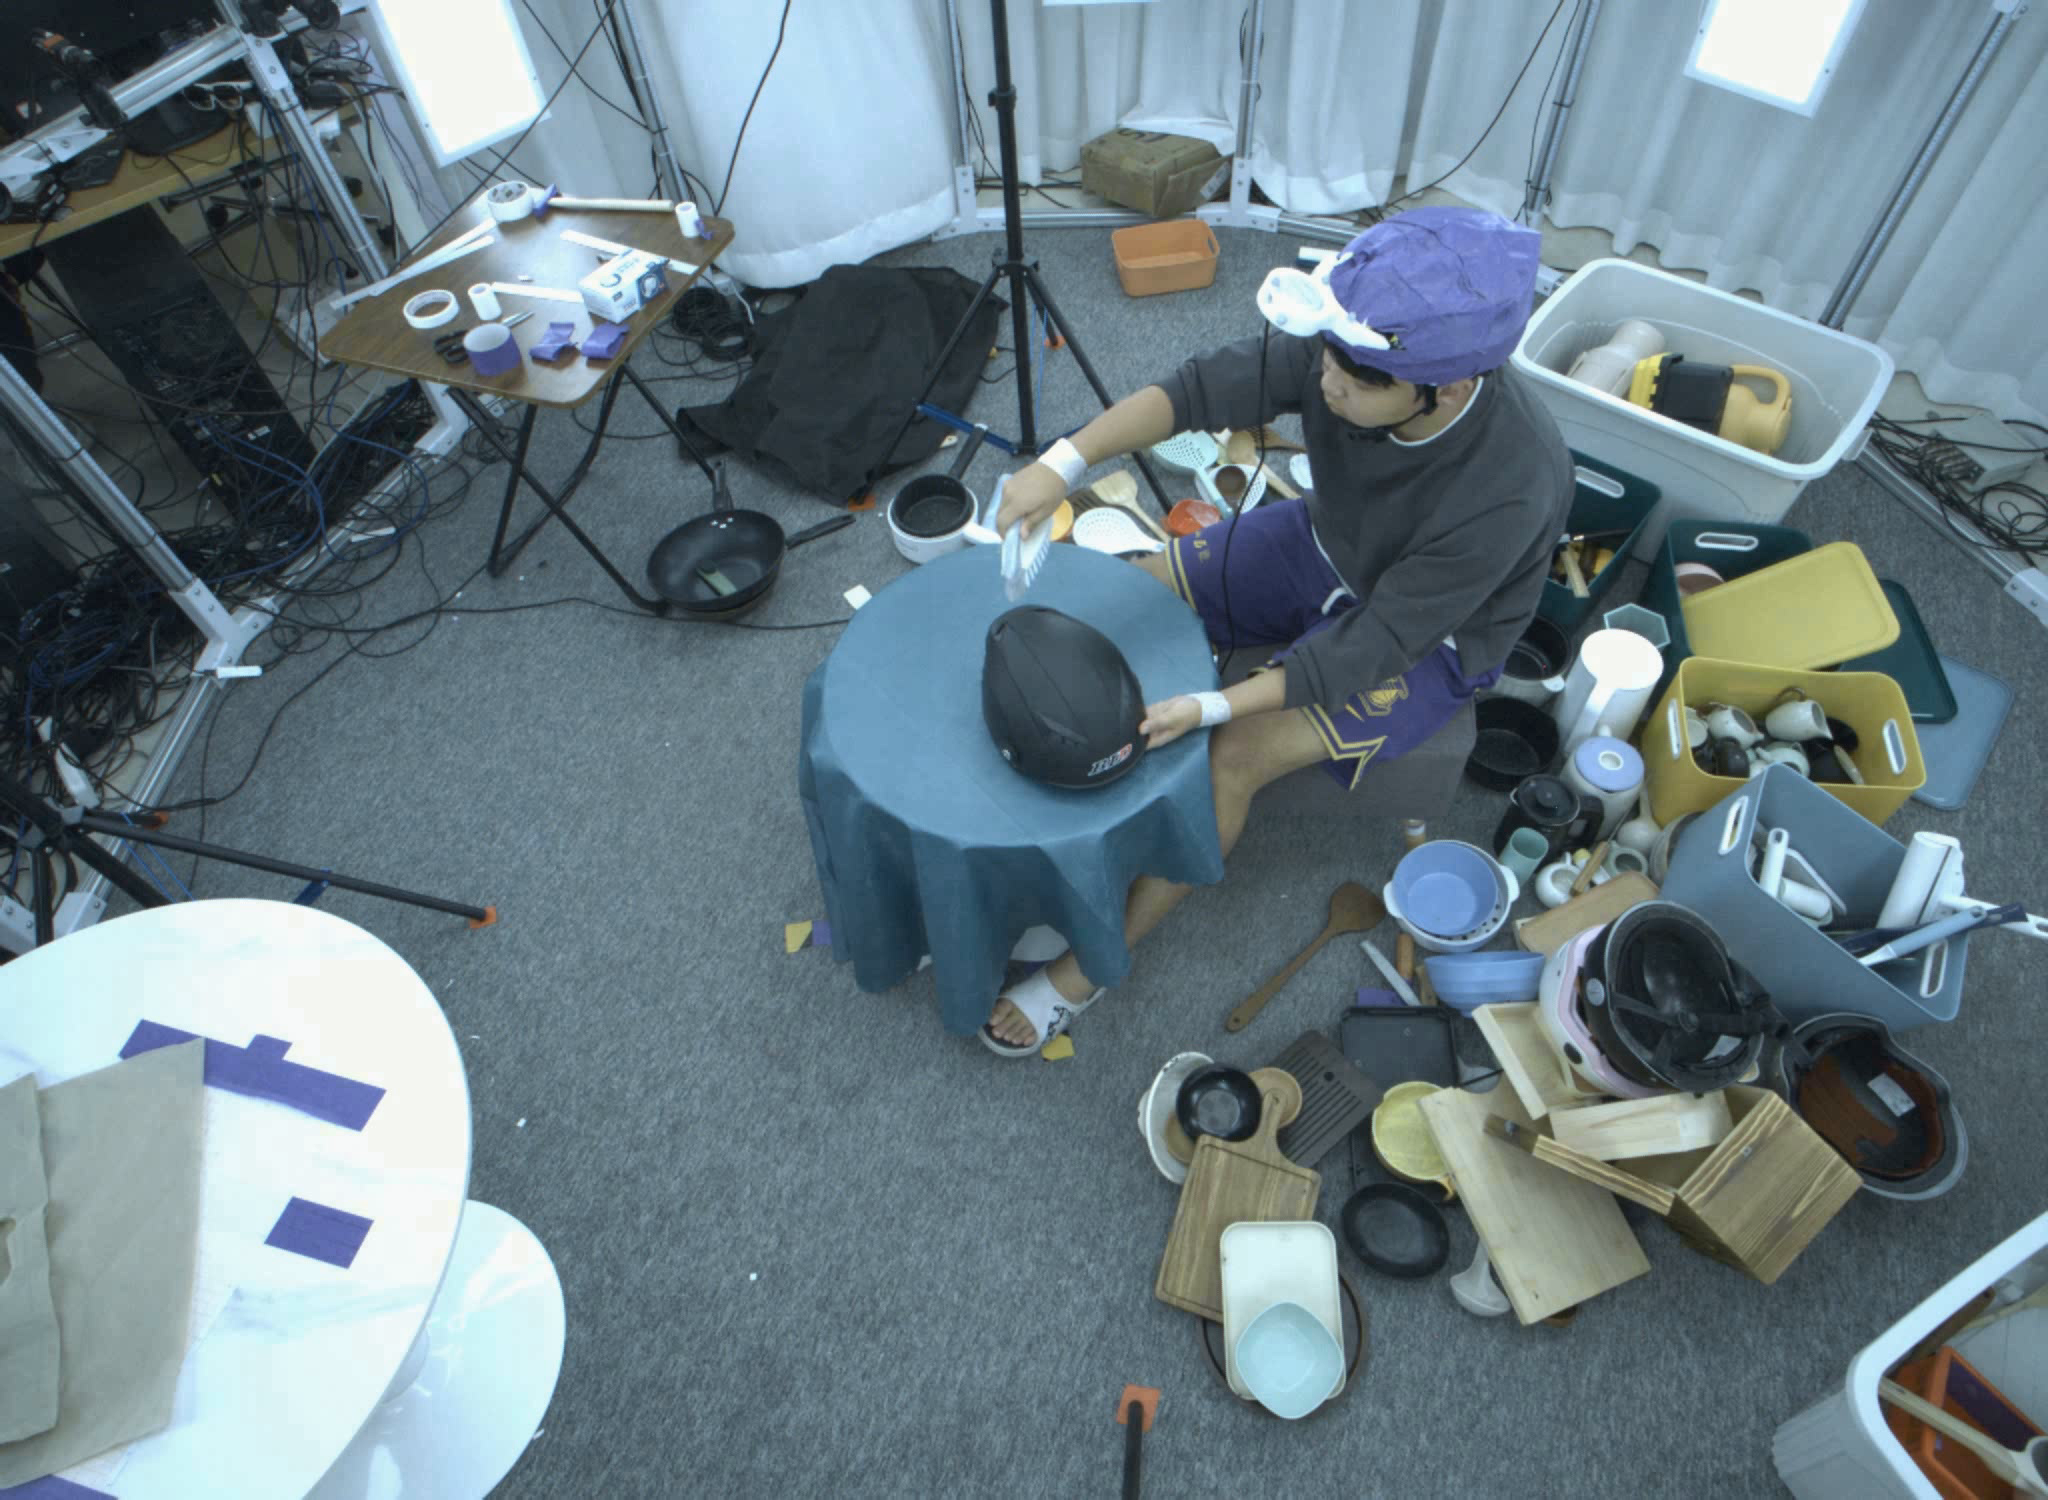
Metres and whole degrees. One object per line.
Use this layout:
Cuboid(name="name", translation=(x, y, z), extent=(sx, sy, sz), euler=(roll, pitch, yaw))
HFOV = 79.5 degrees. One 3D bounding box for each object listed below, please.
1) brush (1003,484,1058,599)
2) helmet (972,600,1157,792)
Cuboid(name="brush", translation=(-0.002, -0.307, 1.749), extent=(0.061, 0.096, 0.175), euler=(4, 56, 18))
Cuboid(name="helmet", translation=(0.050, -0.086, 1.751), extent=(0.248, 0.175, 0.271), euler=(-27, 53, -14))
